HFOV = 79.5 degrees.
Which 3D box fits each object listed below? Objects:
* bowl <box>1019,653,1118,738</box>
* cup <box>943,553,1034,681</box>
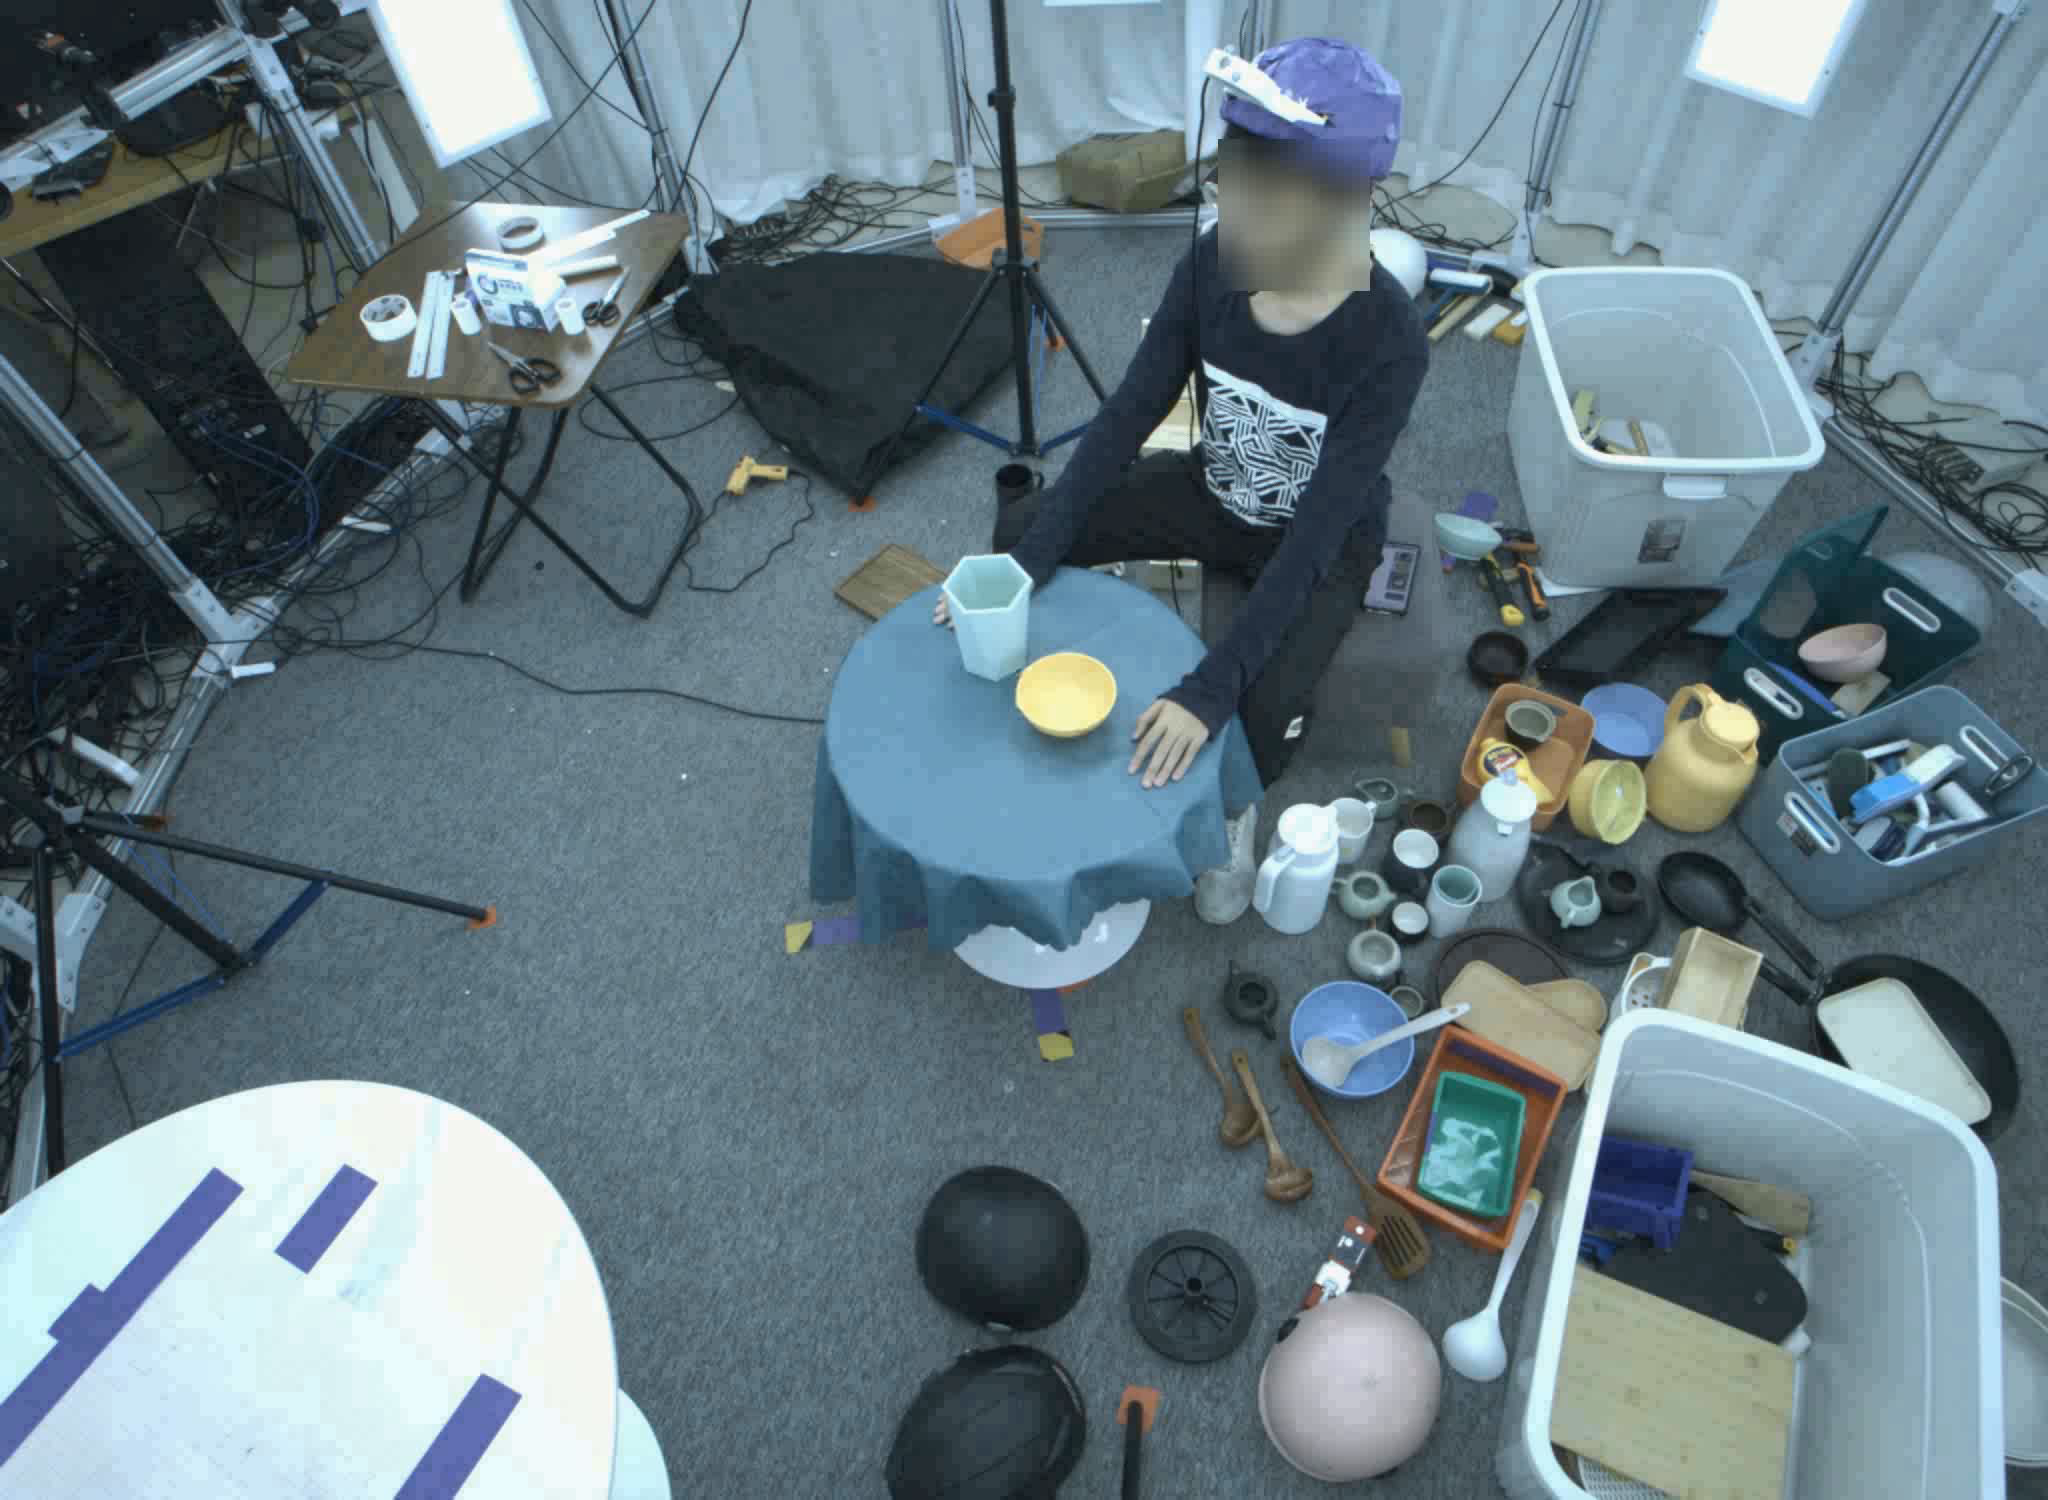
[{"bbox_3d":[0.064,-0.068,1.794,0.145,0.060,0.144,1,54,0],"label":"bowl"},{"bbox_3d":[-0.049,-0.192,1.817,0.116,0.164,0.128,-30,59,-18],"label":"cup"}]
